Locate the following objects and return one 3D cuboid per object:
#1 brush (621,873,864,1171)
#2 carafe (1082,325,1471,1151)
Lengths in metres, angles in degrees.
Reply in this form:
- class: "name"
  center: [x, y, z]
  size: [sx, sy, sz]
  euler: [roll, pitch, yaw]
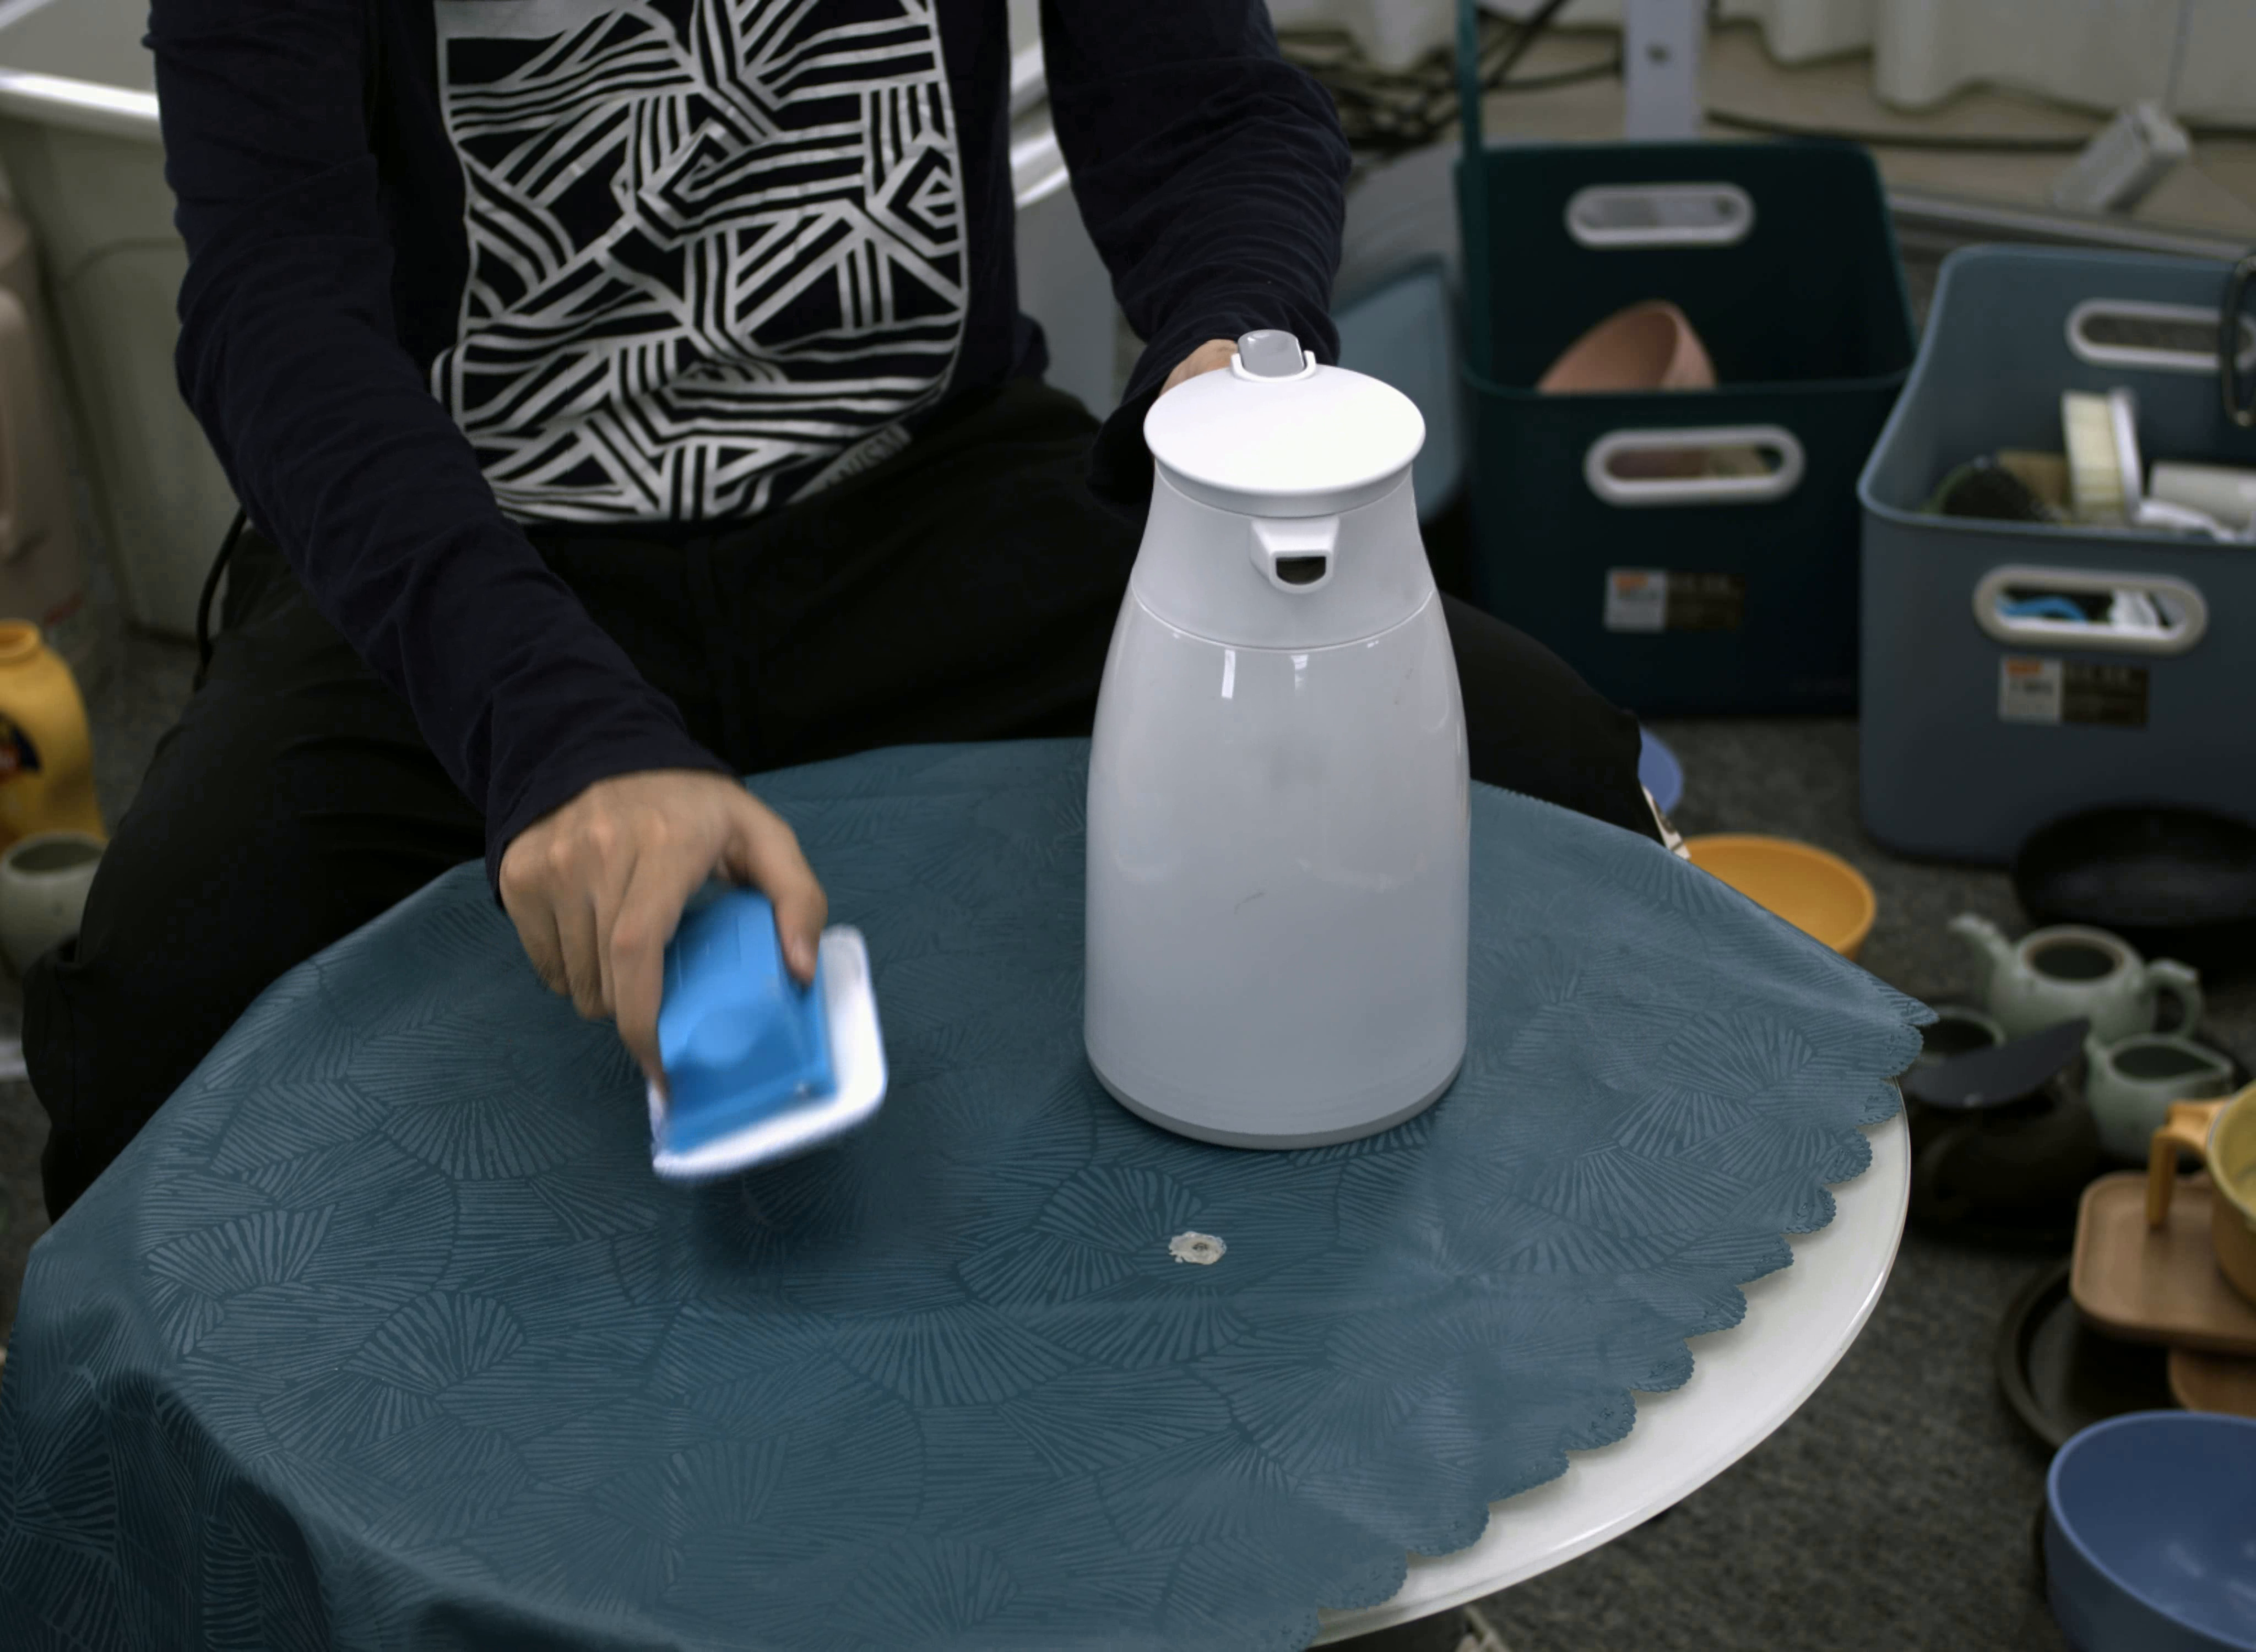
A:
- class: "brush"
  center: [-0.132, 0.061, 1.862]
  size: [0.083, 0.055, 0.146]
  euler: [-14, 26, 2]
- class: "carafe"
  center: [0.047, -0.040, 1.889]
  size: [0.132, 0.246, 0.170]
  euler: [-4, 29, -6]
